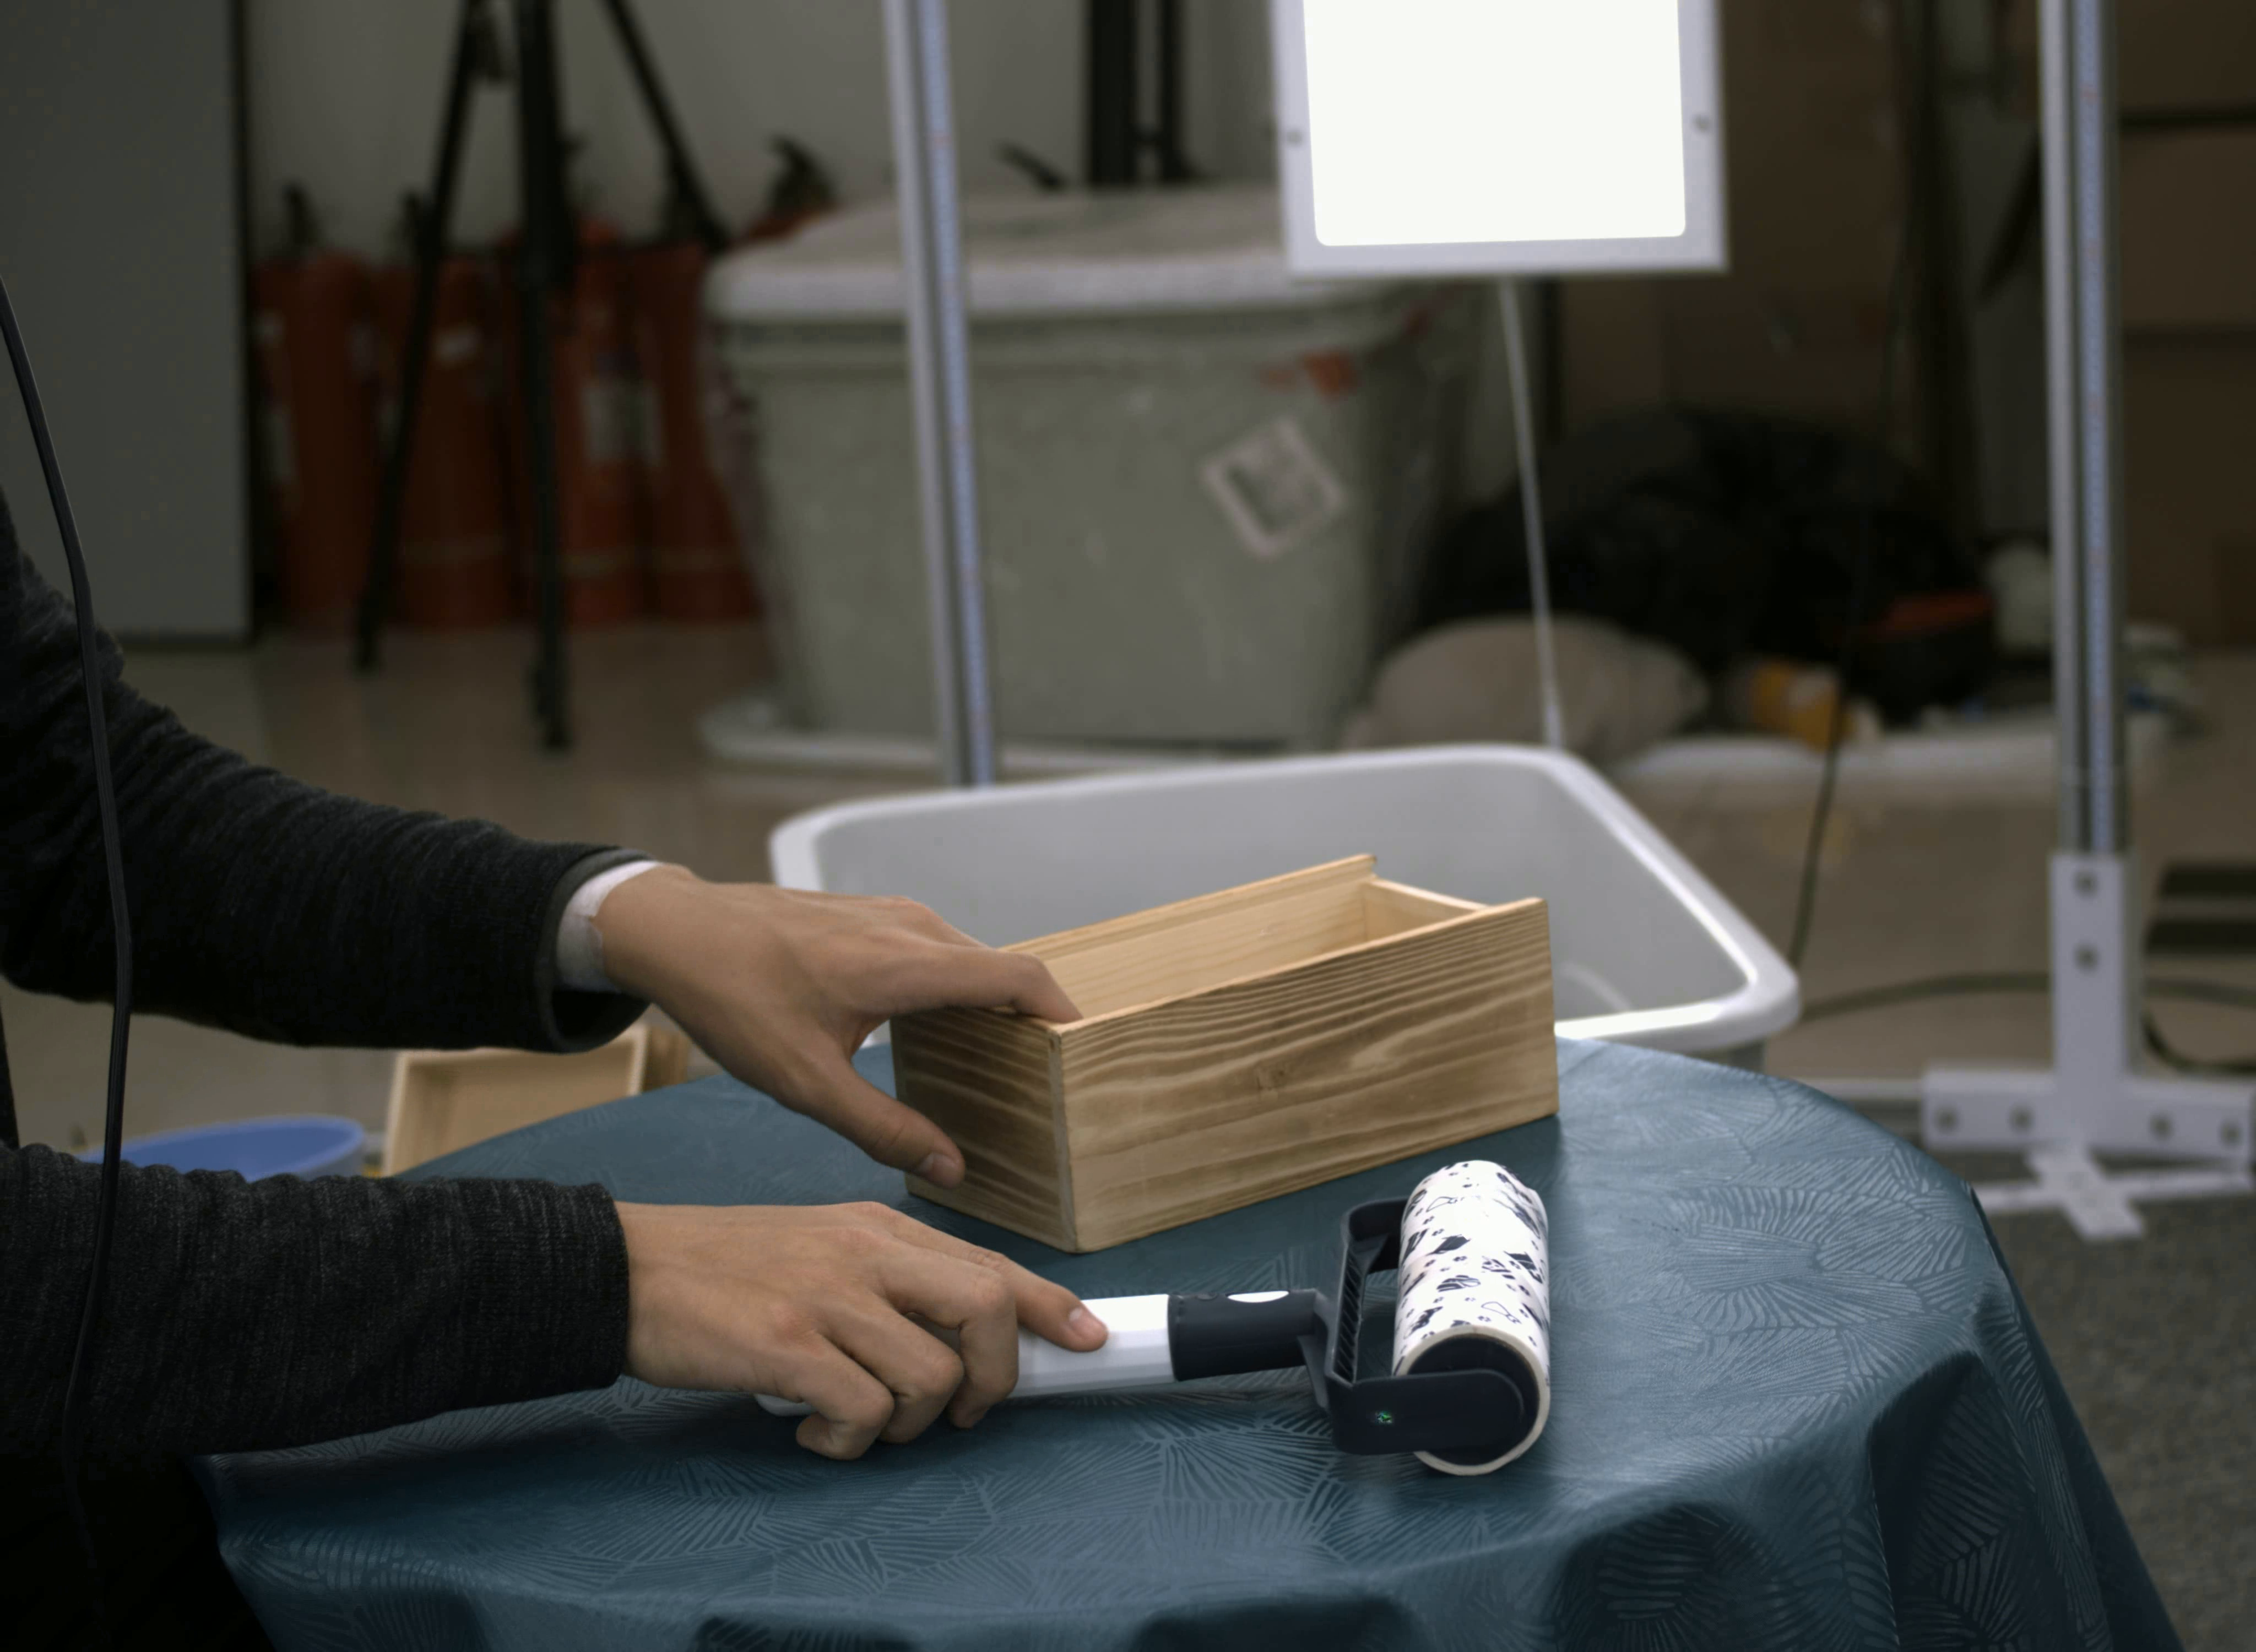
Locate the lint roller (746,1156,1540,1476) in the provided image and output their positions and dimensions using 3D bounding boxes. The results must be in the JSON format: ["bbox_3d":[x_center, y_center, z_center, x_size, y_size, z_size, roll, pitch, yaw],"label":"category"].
[{"bbox_3d":[0.004,0.155,1.686,0.248,0.050,0.175,-4,14,7],"label":"lint roller"}]

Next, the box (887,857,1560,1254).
[{"bbox_3d":[0.035,0.077,1.920,0.206,0.080,0.109,-14,16,-32],"label":"box"}]
